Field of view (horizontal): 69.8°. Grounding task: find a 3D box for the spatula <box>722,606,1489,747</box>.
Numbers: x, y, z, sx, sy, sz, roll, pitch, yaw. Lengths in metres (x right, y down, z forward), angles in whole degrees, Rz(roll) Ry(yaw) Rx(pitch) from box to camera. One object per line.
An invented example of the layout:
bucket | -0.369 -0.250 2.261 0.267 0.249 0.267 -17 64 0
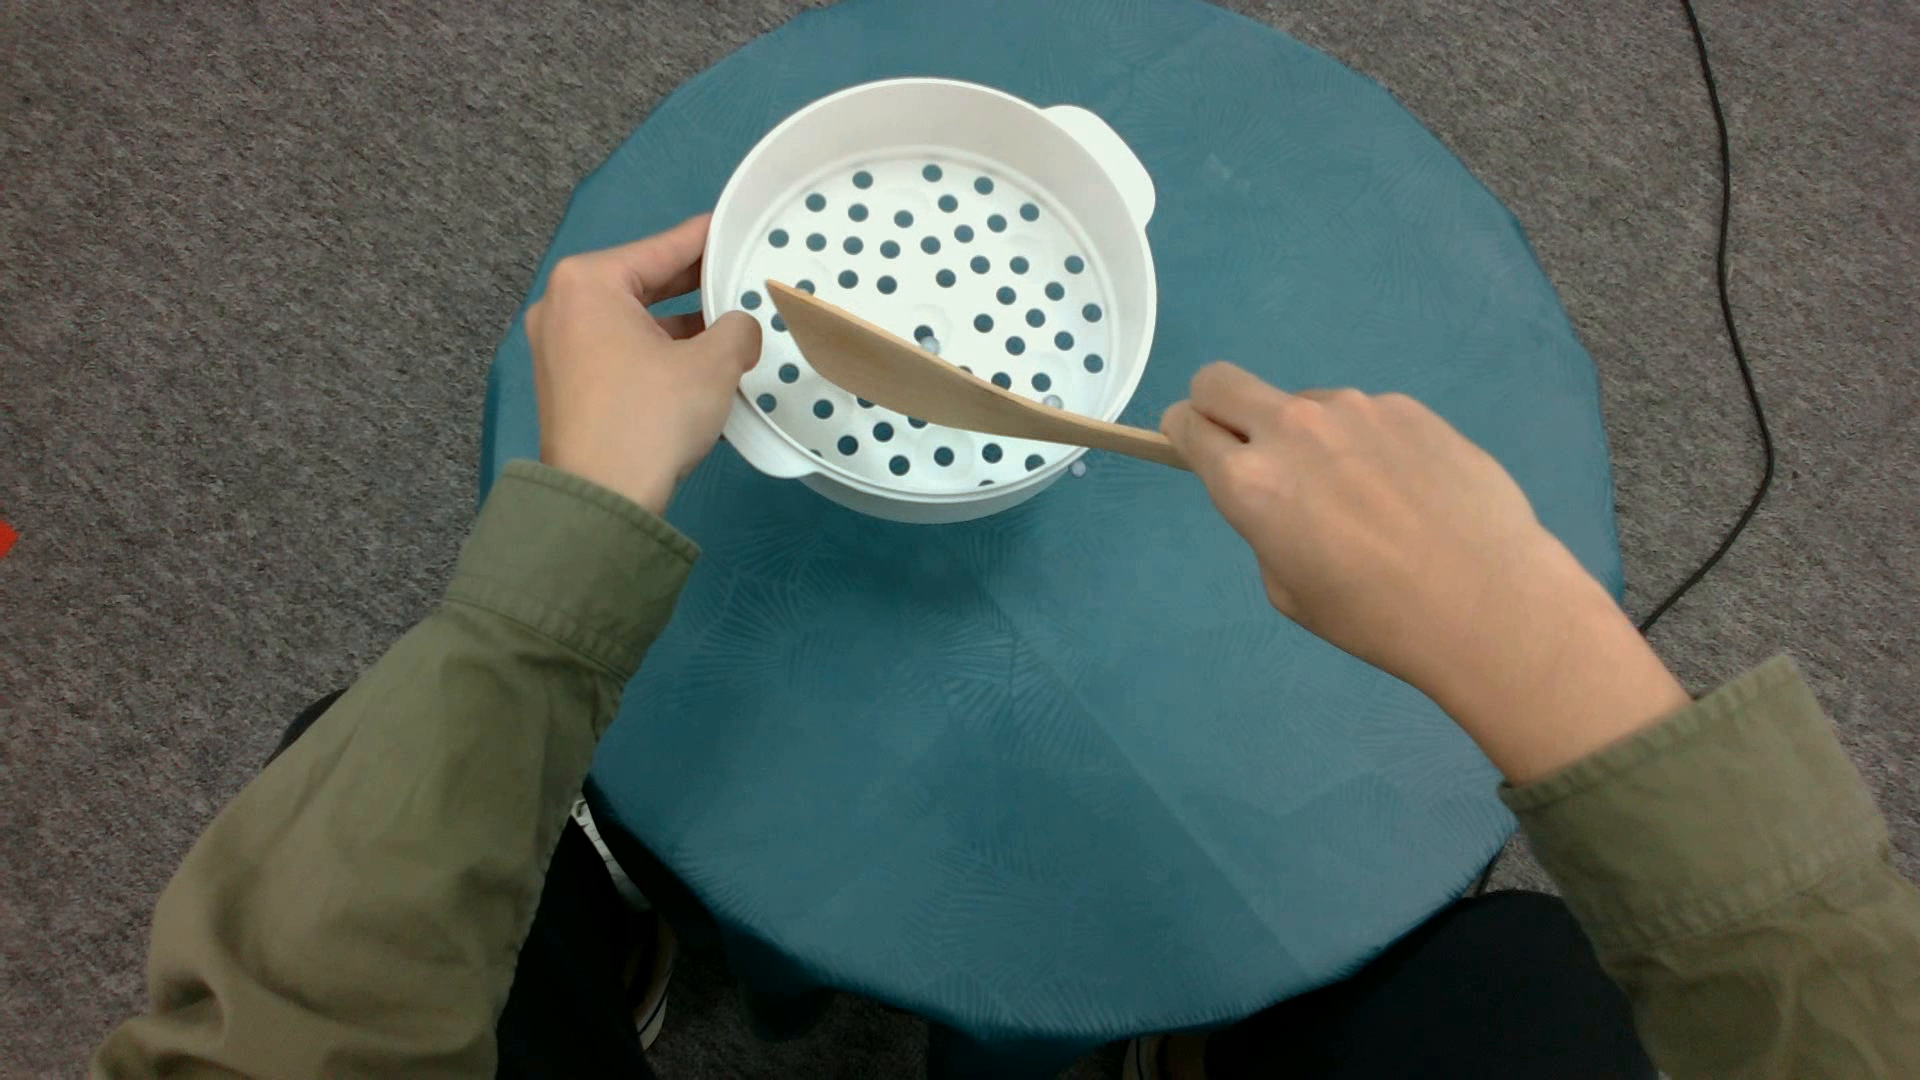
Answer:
spatula | 0.040 0.057 0.556 0.327 0.080 0.016 2 57 28

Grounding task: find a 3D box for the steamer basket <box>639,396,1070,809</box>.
steamer basket | -0.050 0.030 0.670 0.202 0.069 0.231 39 68 15
